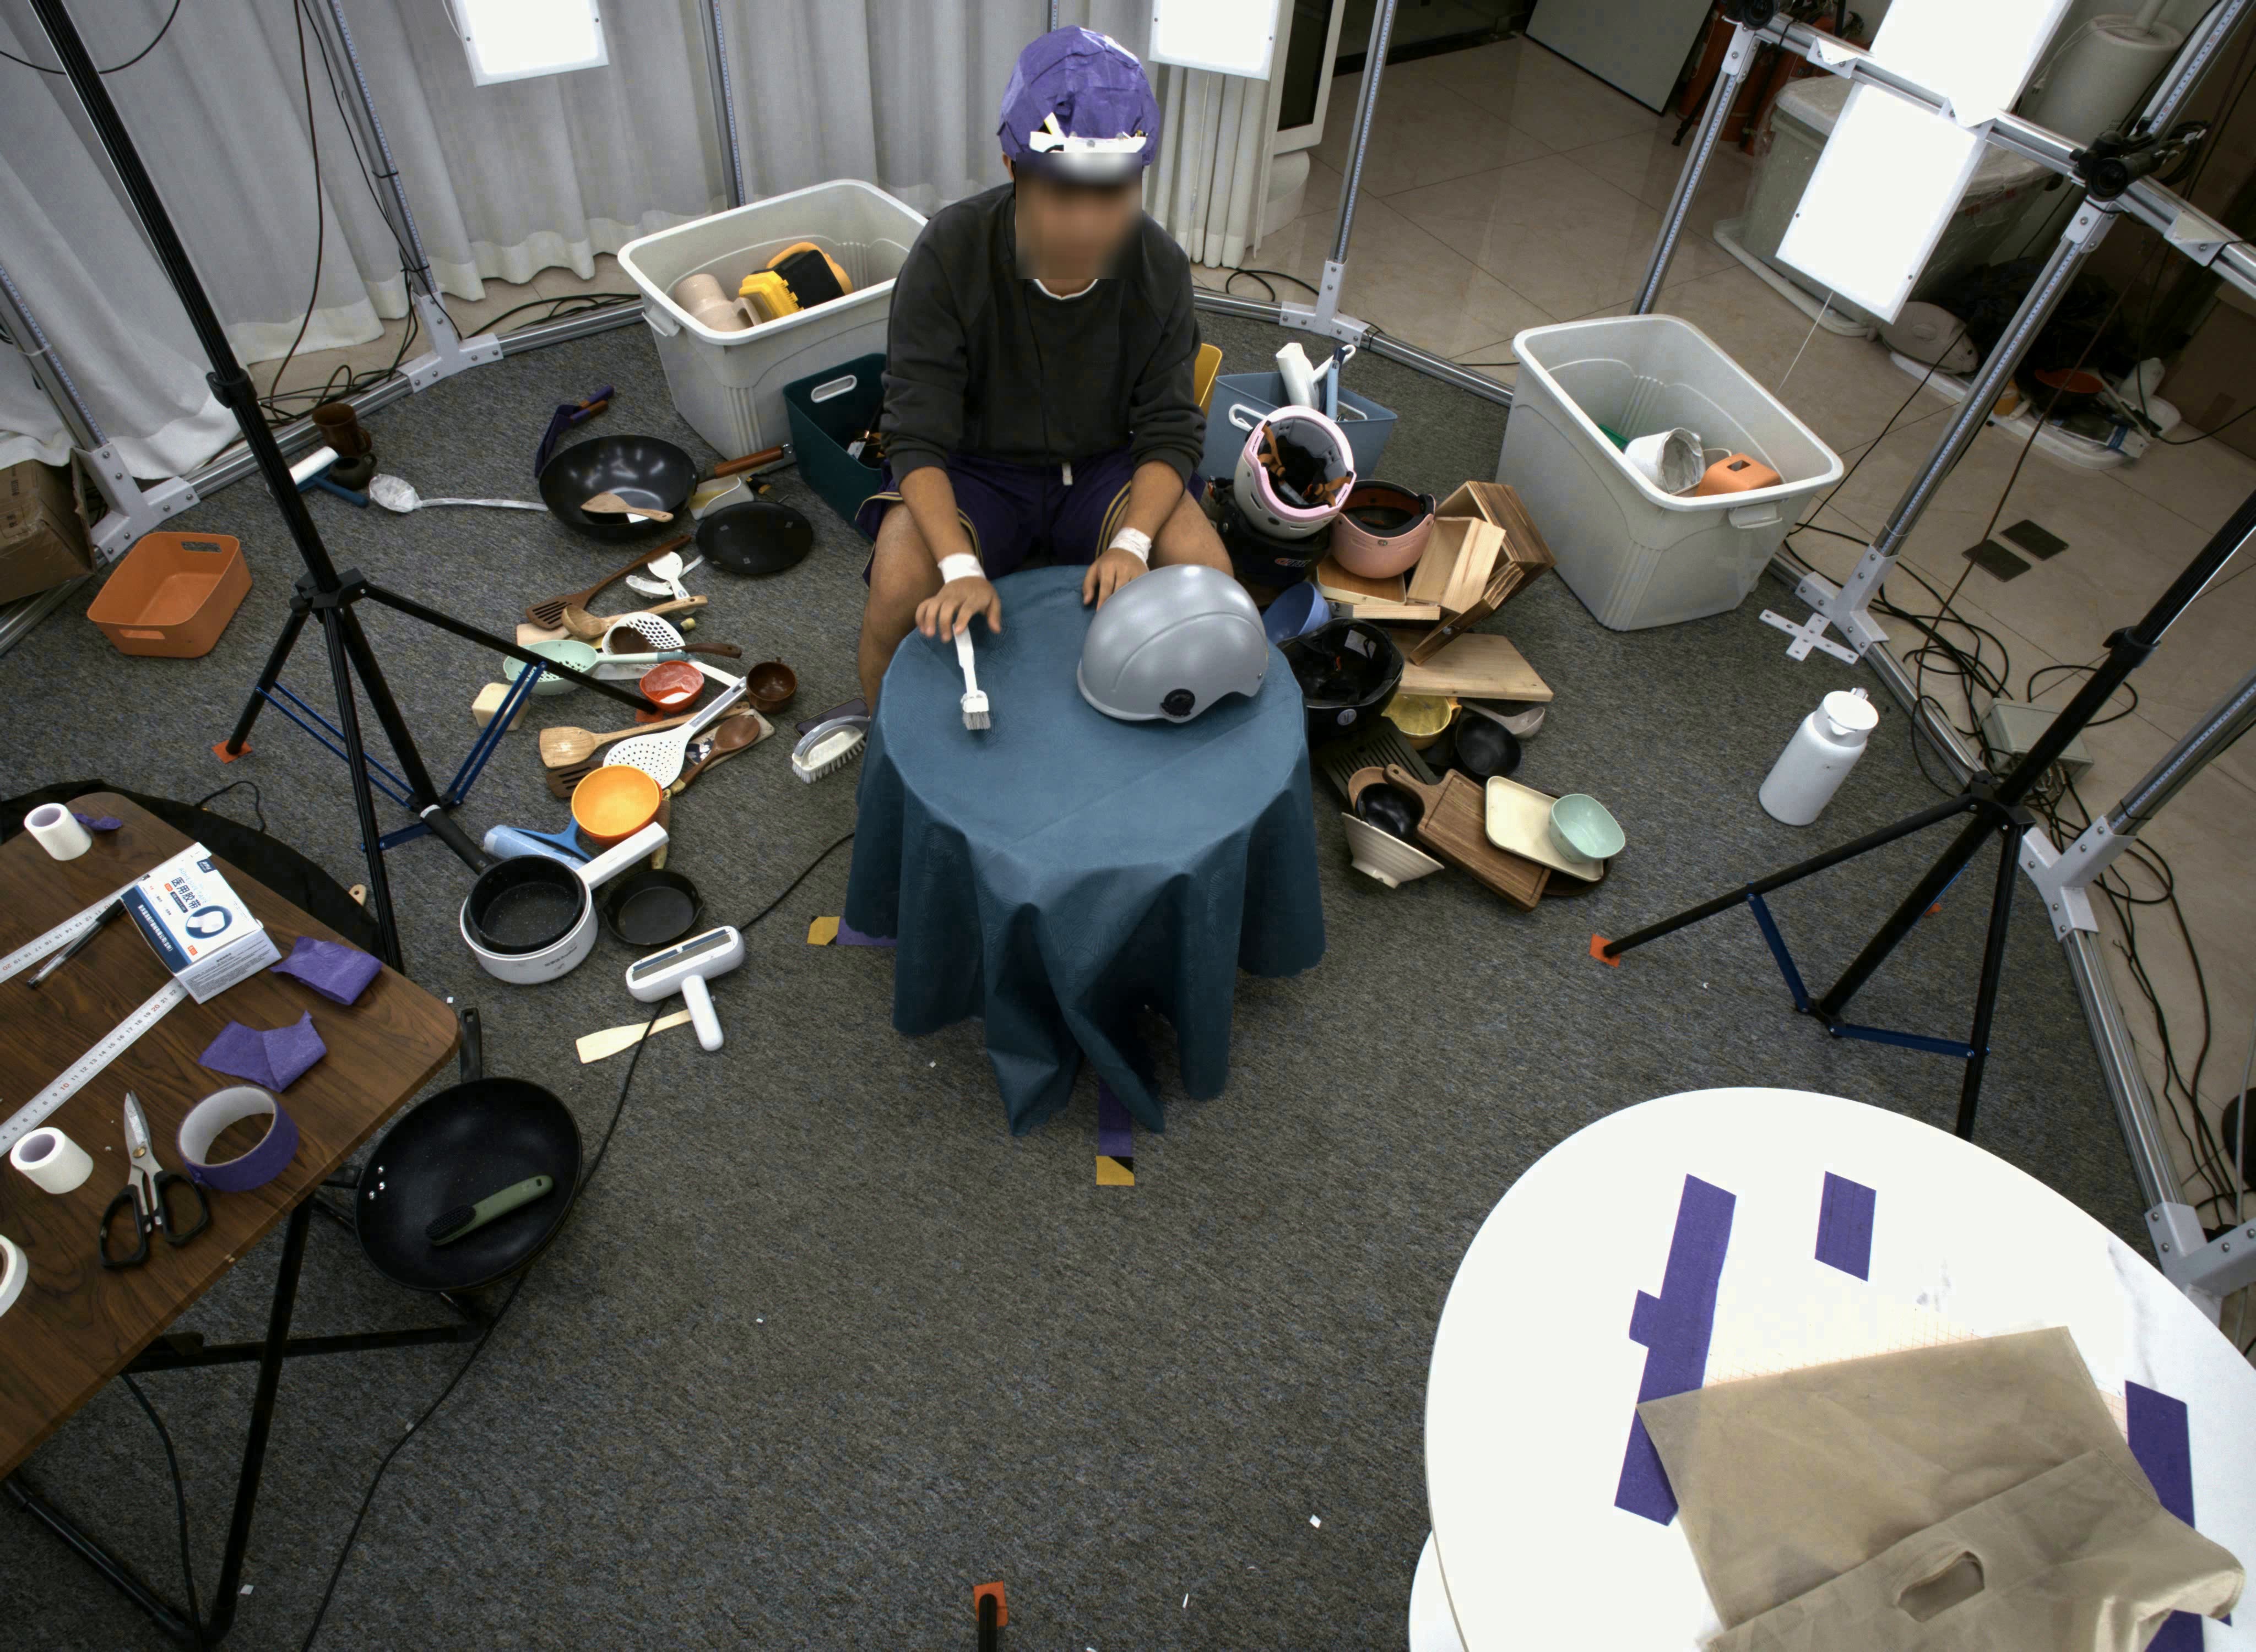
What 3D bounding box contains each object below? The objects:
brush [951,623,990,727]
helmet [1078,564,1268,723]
[{"bbox_3d":[-0.226,-0.212,1.821,0.034,0.049,0.249,-7,37,-10],"label":"brush"},{"bbox_3d":[0.063,-0.275,1.805,0.276,0.164,0.237,-15,49,-14],"label":"helmet"}]
